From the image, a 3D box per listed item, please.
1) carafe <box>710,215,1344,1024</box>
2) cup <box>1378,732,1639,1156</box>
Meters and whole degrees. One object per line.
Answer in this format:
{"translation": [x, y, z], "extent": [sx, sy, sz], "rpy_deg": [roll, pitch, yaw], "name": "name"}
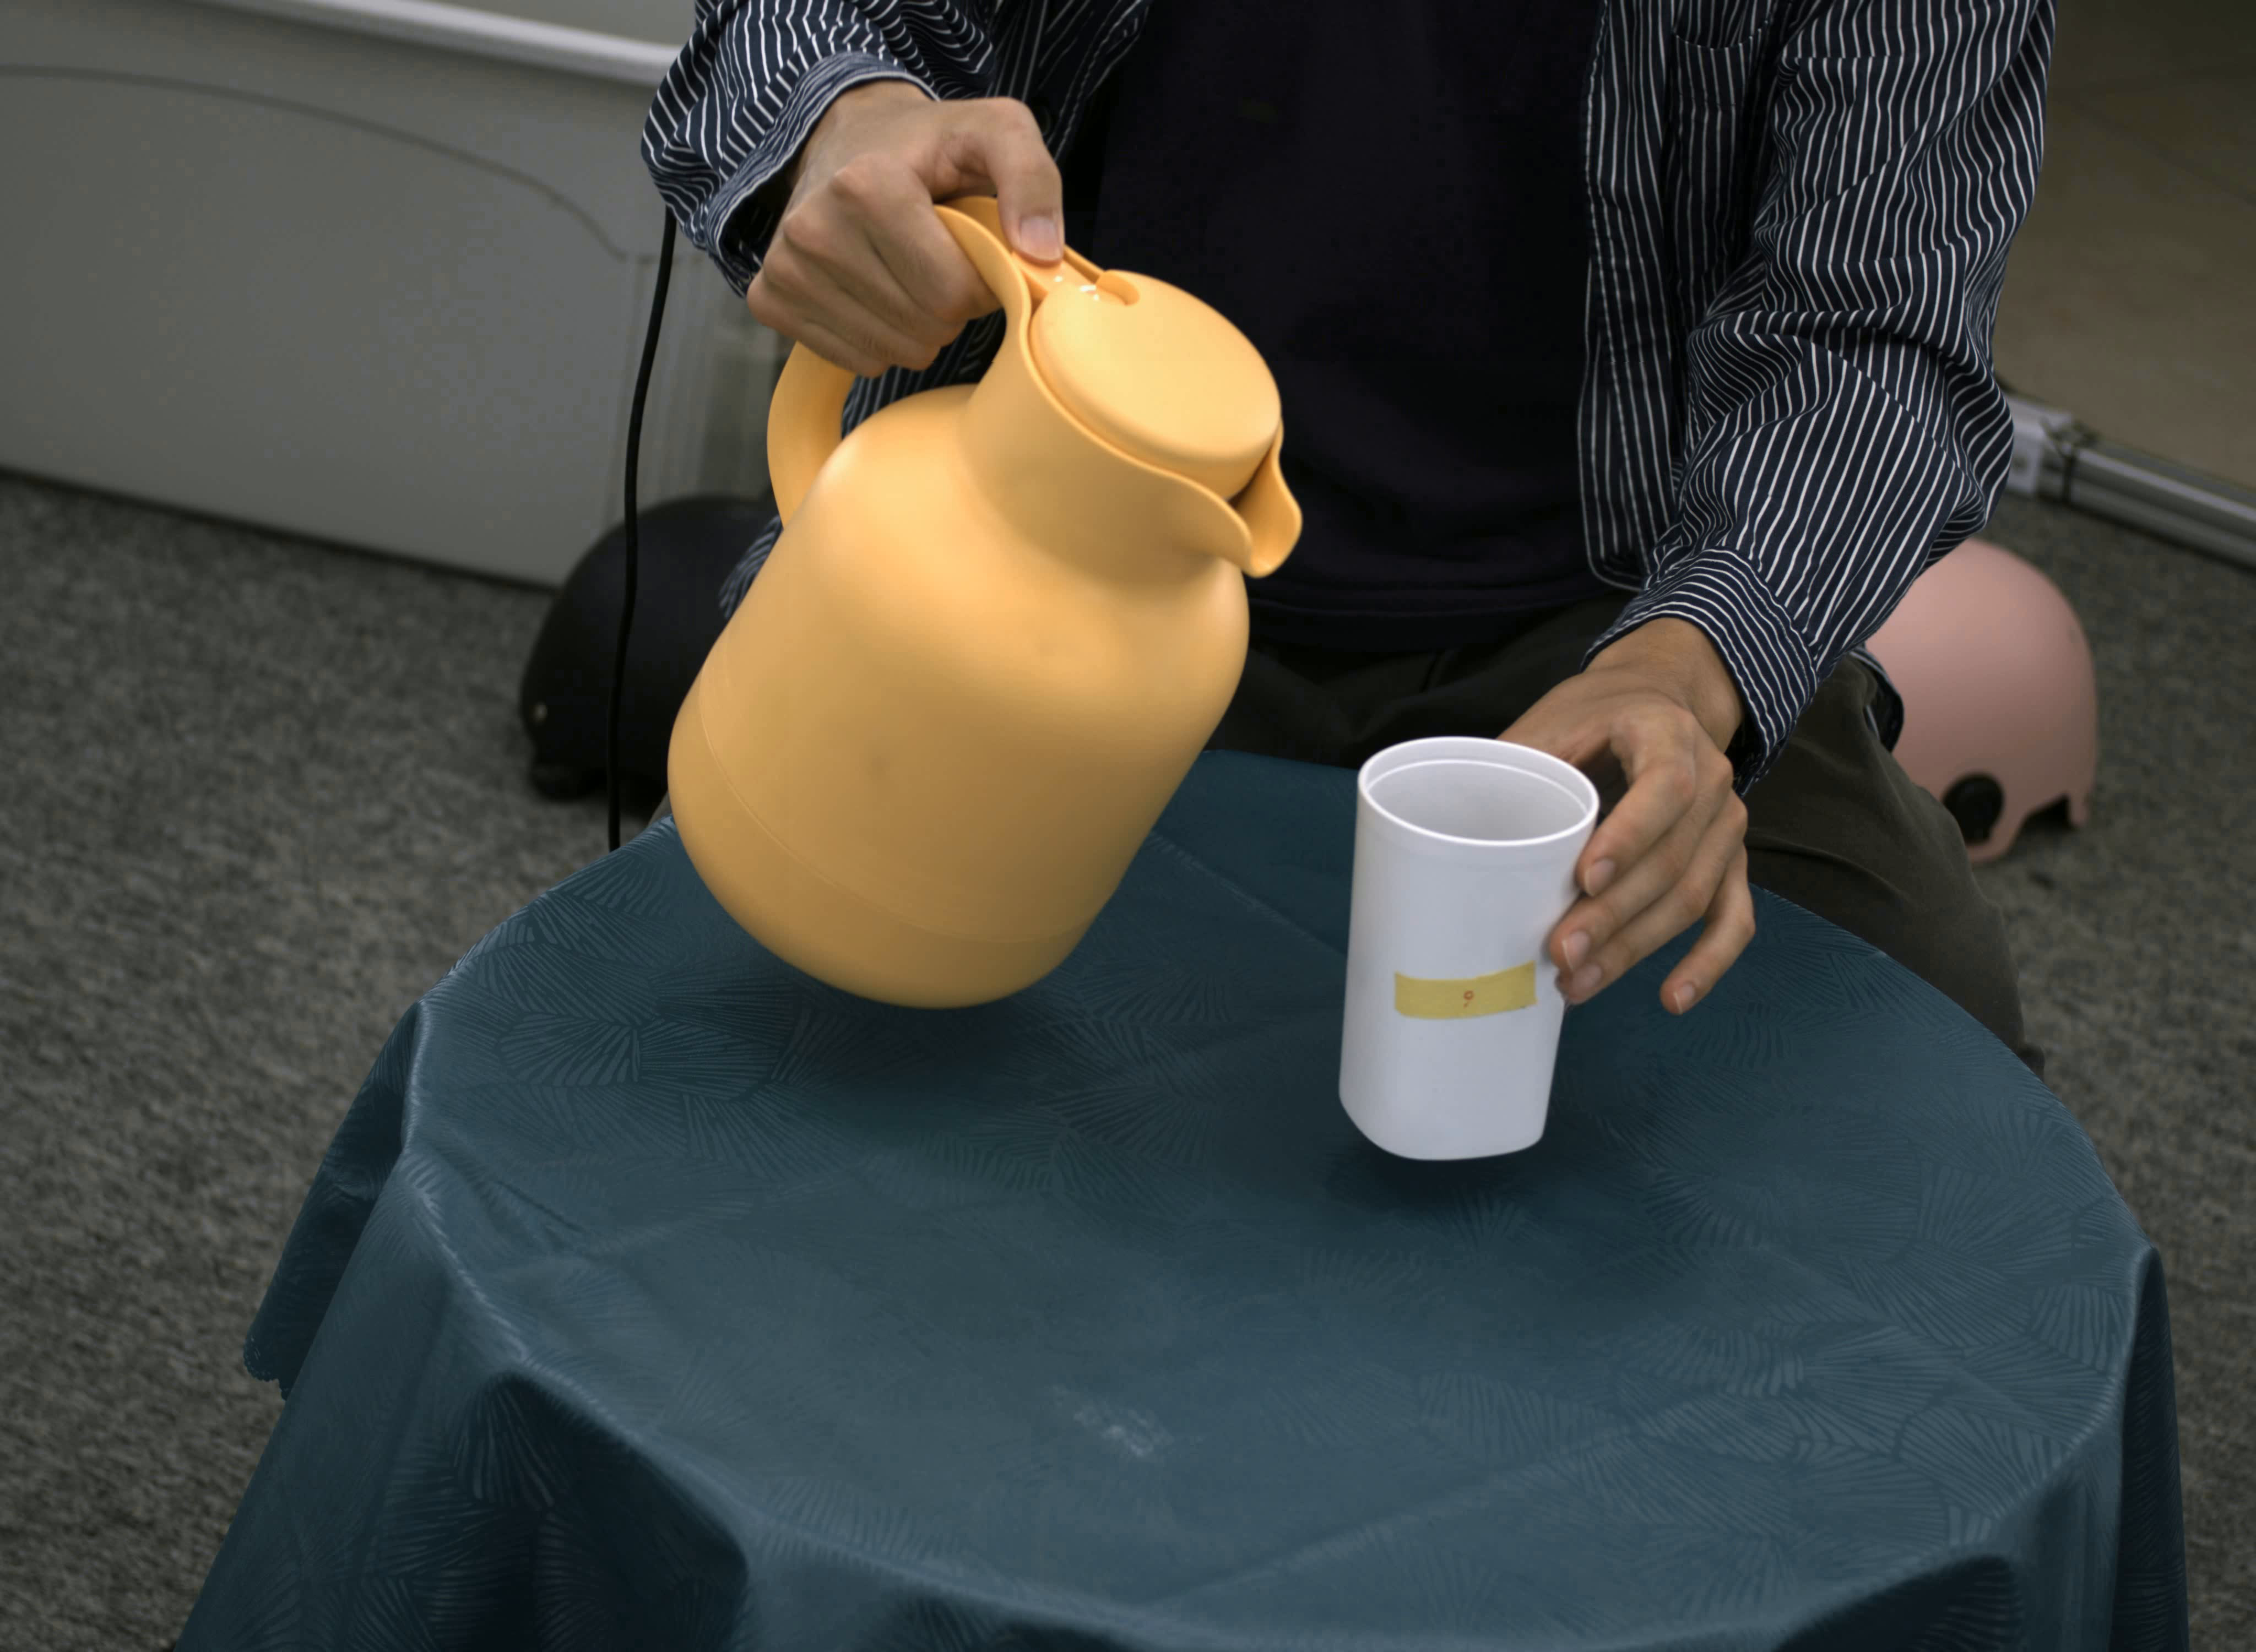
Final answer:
{"translation": [-0.040, -0.078, 1.820], "extent": [0.162, 0.260, 0.204], "rpy_deg": [-18, 60, -47], "name": "carafe"}
{"translation": [0.125, 0.042, 1.796], "extent": [0.081, 0.125, 0.082], "rpy_deg": [4, 24, -2], "name": "cup"}
